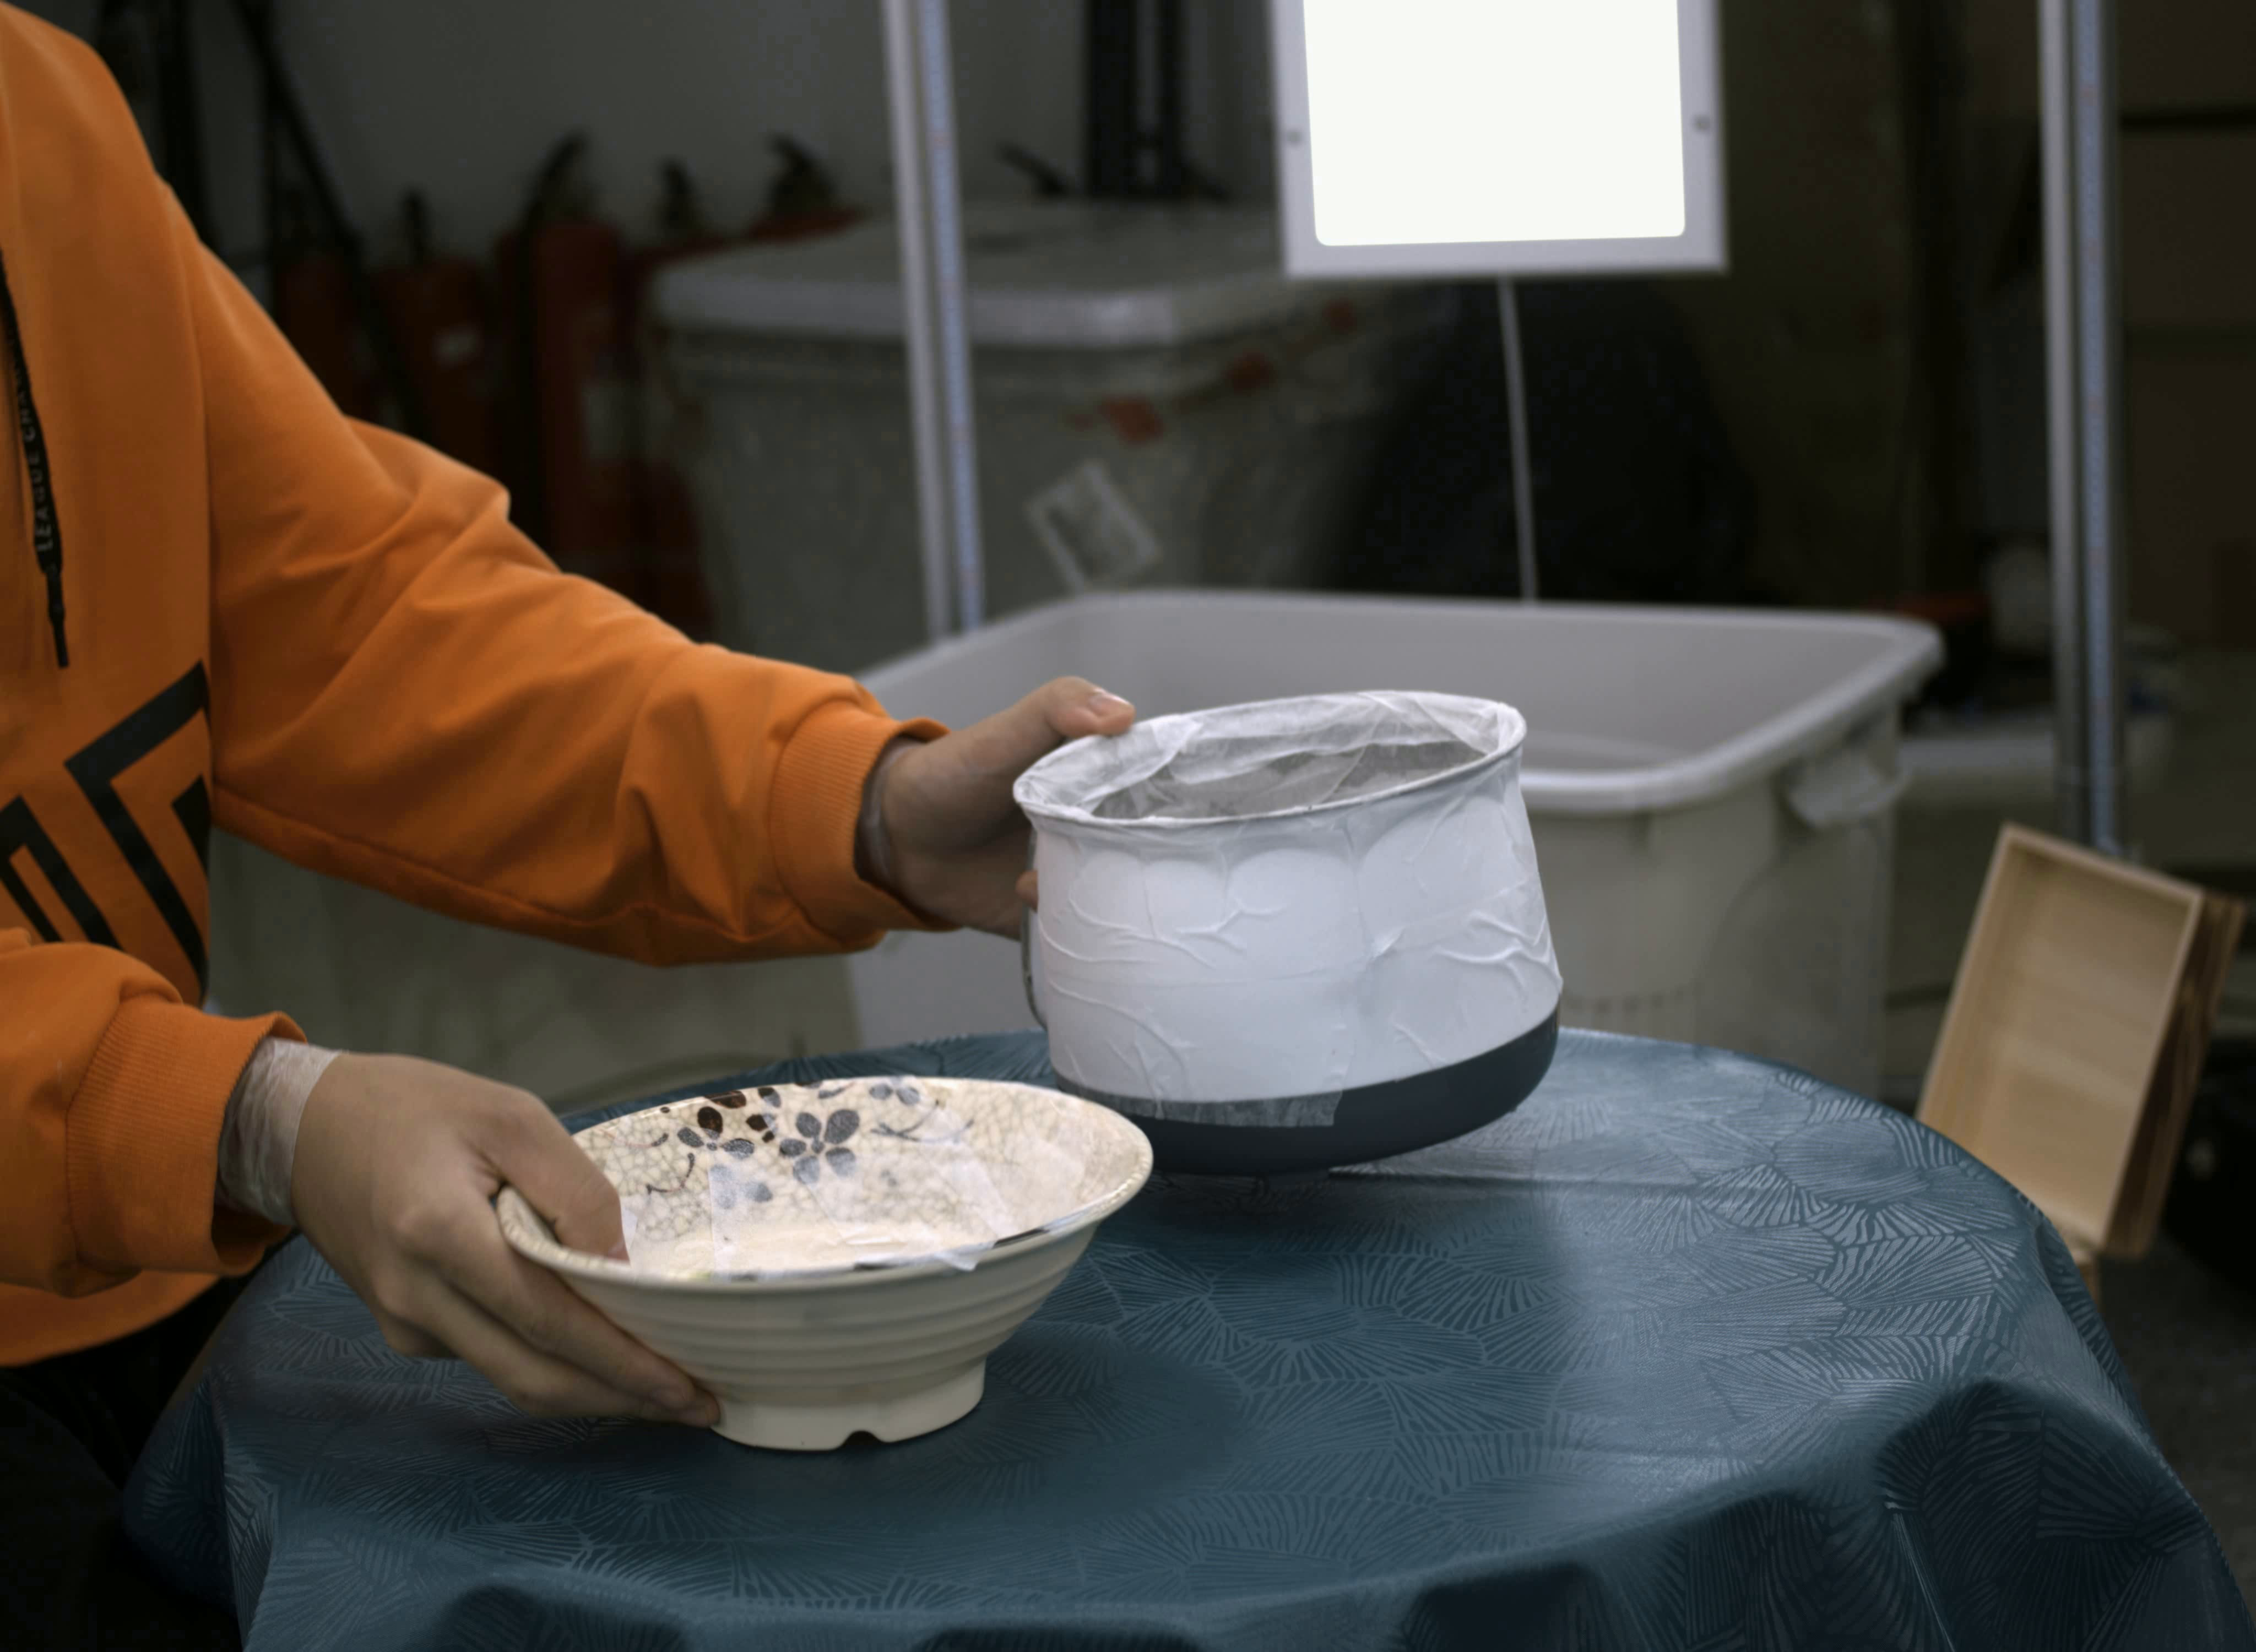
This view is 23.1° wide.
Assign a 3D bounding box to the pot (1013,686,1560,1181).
[{"bbox_3d":[0.039,0.033,1.902,0.174,0.137,0.239,-17,15,-36],"label":"pot"}]

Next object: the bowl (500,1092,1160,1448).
[{"bbox_3d":[-0.089,0.142,1.698,0.203,0.078,0.204,-4,11,-1],"label":"bowl"}]
